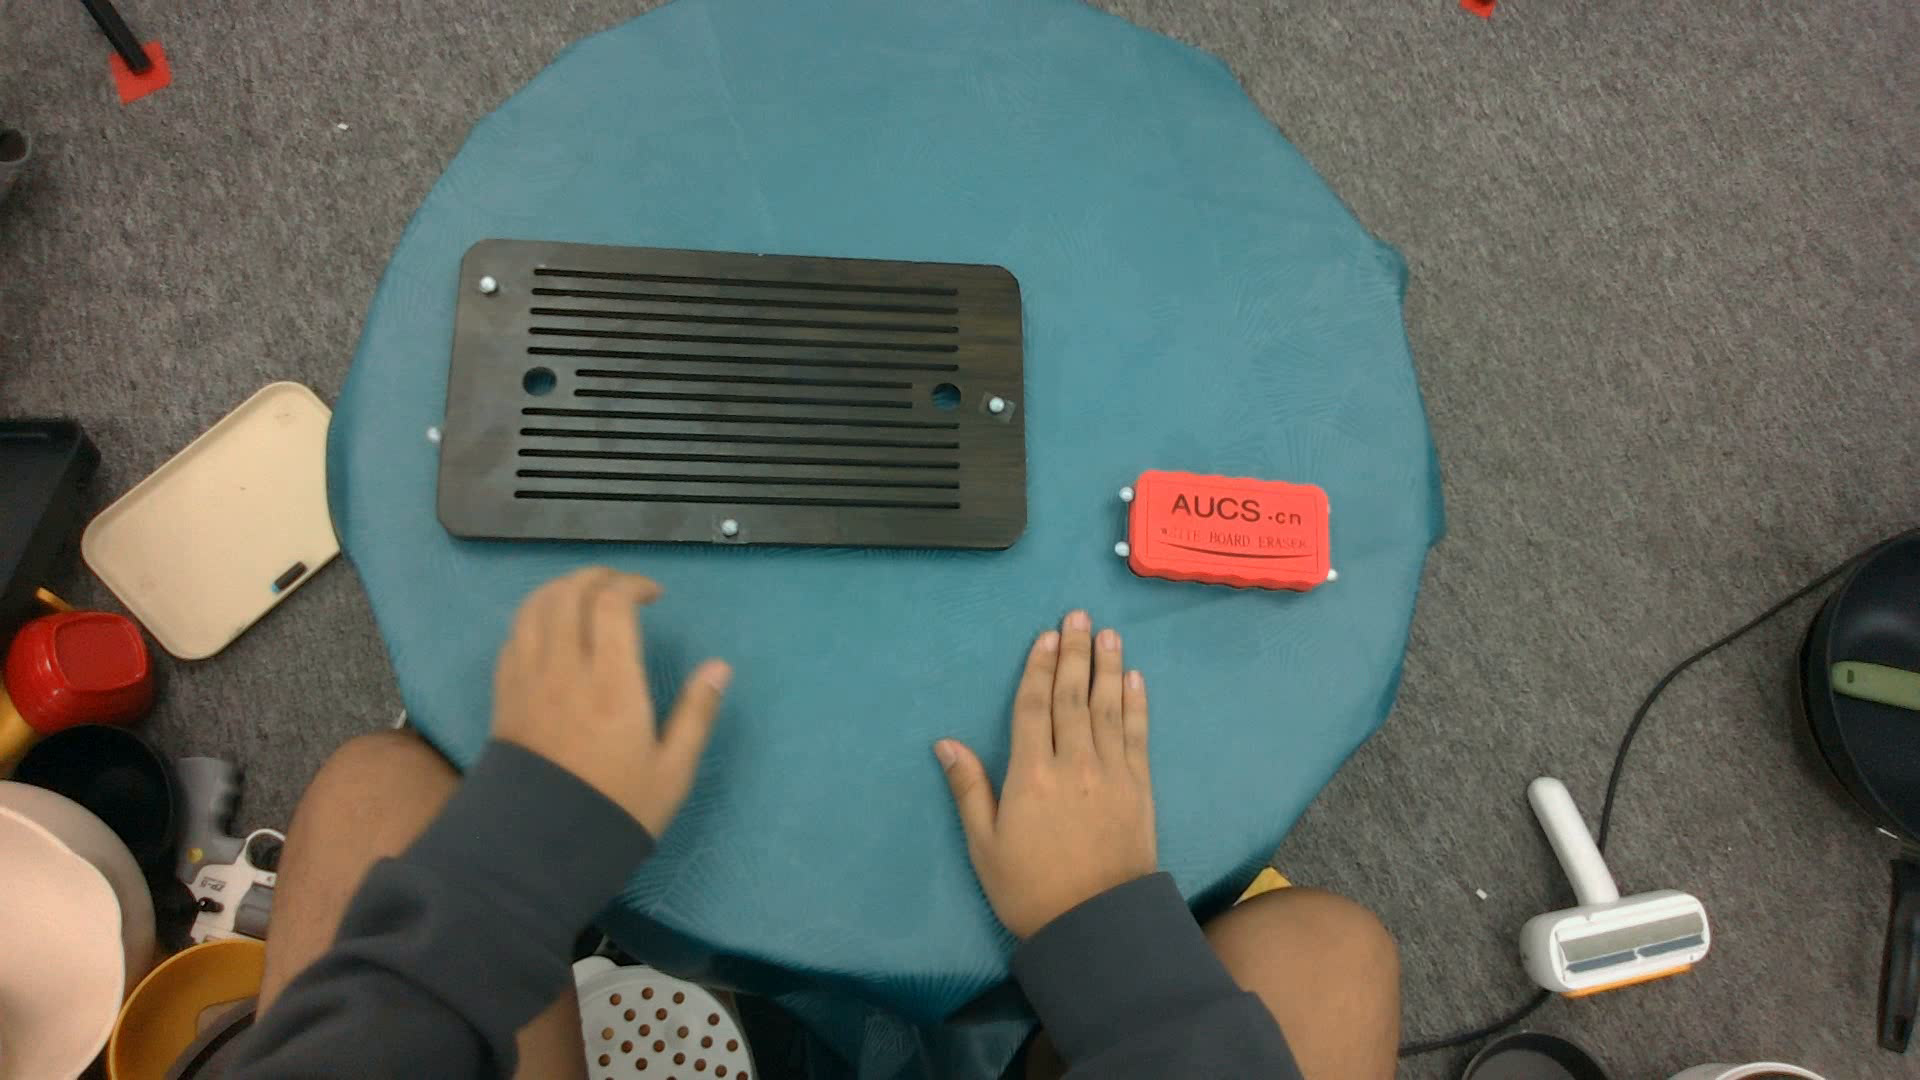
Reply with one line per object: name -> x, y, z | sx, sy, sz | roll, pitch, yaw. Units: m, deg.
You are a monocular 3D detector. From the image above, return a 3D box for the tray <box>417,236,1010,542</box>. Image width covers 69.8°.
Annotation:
tray -> -0.127, -0.080, 0.745 | 0.306, 0.018, 0.170 | 1, 72, -8

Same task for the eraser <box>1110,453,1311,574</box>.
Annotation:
eraser -> 0.137, -0.014, 0.756 | 0.108, 0.023, 0.059 | 5, 72, -8
